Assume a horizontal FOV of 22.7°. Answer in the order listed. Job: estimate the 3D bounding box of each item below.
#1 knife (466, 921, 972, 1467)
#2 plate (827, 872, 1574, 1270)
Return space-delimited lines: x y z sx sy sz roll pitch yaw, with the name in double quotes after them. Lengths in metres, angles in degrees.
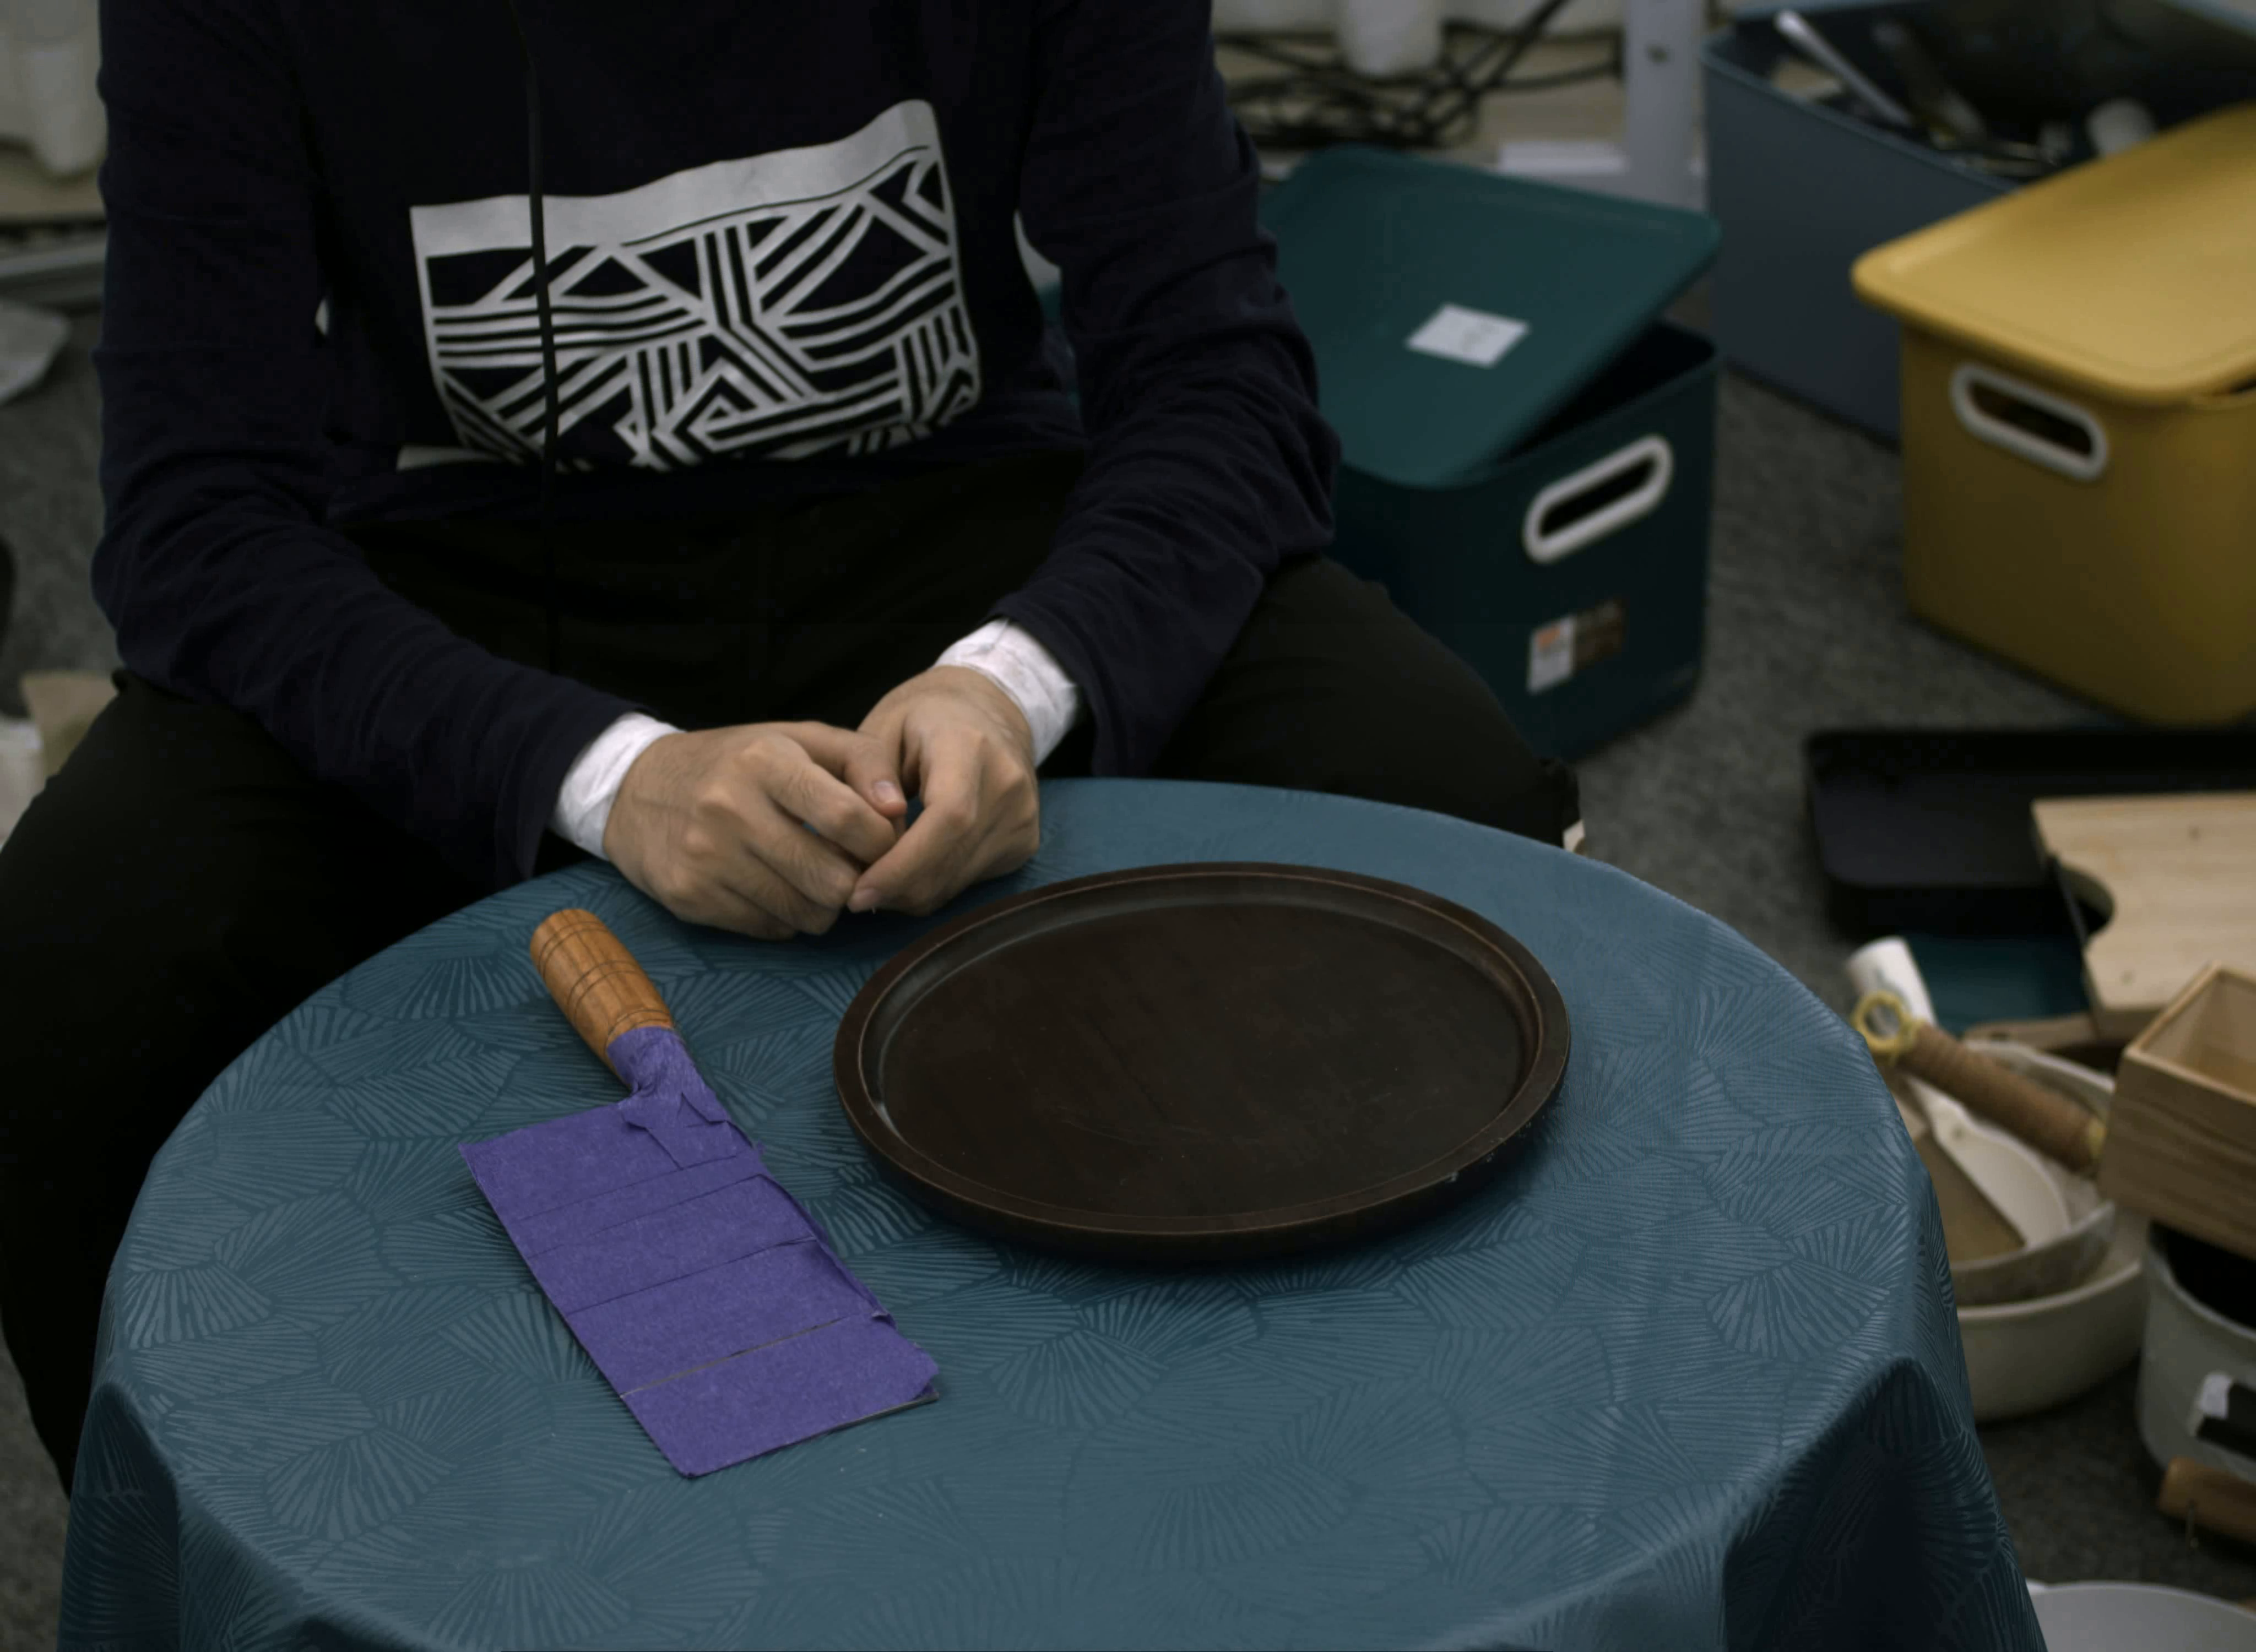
-0.162 0.117 1.856 0.104 0.032 0.317 -14 30 -22 "knife"
0.025 0.081 1.913 0.253 0.029 0.259 -1 28 1 "plate"
